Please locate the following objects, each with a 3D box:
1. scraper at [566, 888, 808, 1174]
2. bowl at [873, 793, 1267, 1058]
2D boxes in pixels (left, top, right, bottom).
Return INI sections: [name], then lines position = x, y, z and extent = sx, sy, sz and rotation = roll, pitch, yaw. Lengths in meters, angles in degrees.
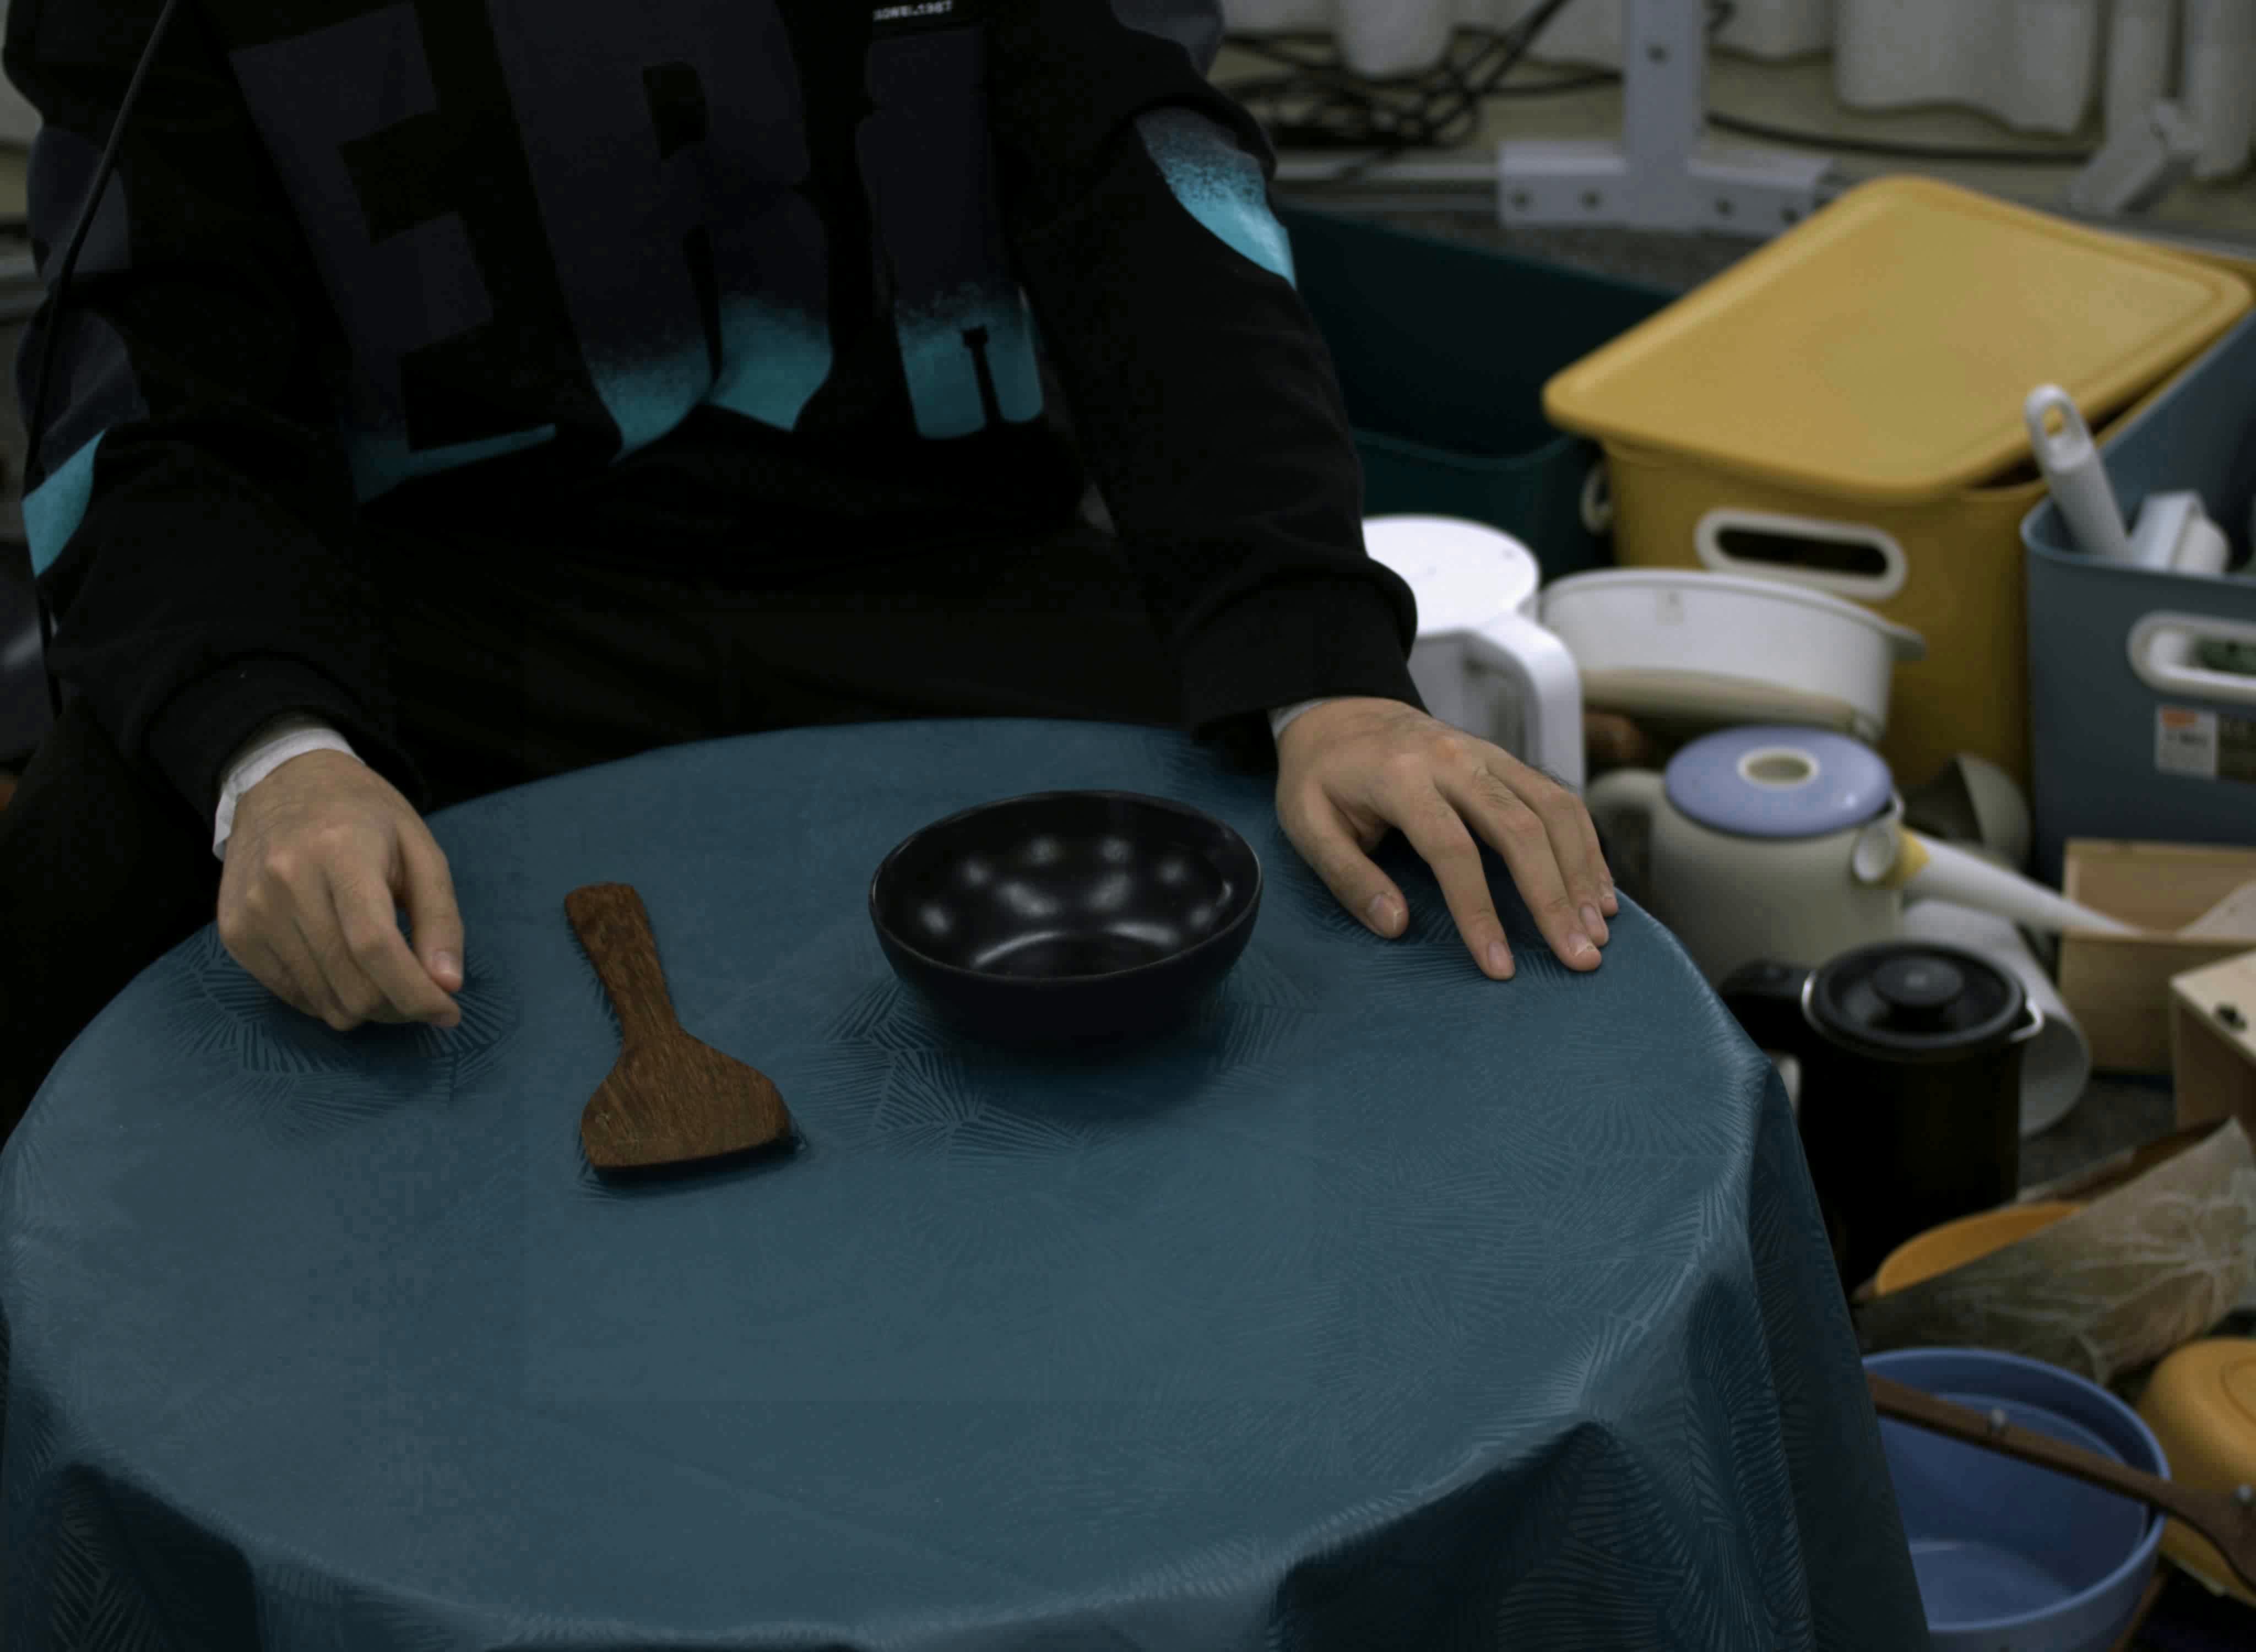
[scraper]
position = -0.167, 0.071, 1.969
extent = 0.076, 0.011, 0.213
rotation = -8, 27, -12
[bowl]
position = -0.018, 0.042, 1.966
extent = 0.139, 0.049, 0.142
rotation = -5, 27, 3
